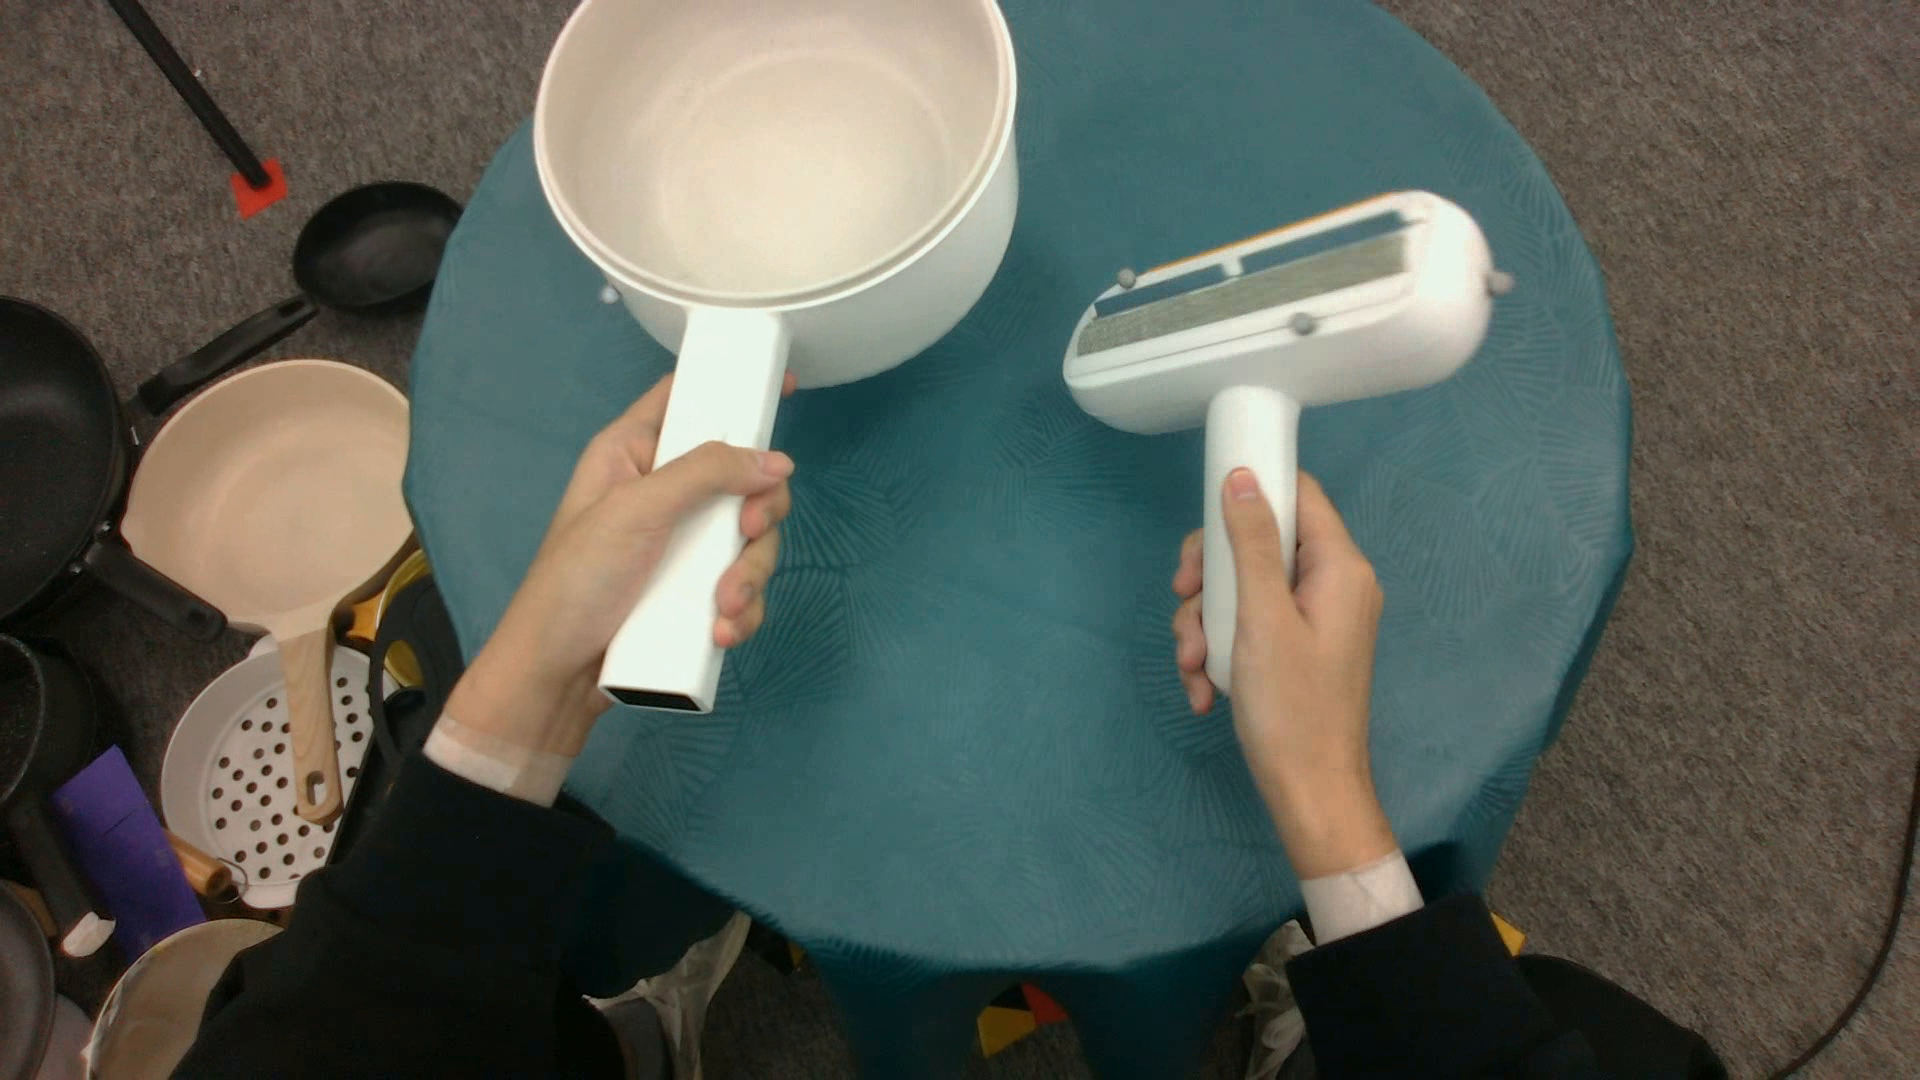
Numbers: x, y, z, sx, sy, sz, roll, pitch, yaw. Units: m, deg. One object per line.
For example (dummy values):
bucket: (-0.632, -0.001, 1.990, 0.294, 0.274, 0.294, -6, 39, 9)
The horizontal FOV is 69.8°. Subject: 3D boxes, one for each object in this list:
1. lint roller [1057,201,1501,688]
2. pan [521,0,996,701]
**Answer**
lint roller: (0.115, -0.037, 0.562, 0.192, 0.074, 0.193, 2, 68, 39)
pan: (-0.091, -0.099, 0.590, 0.201, 0.102, 0.356, 5, 69, 7)
